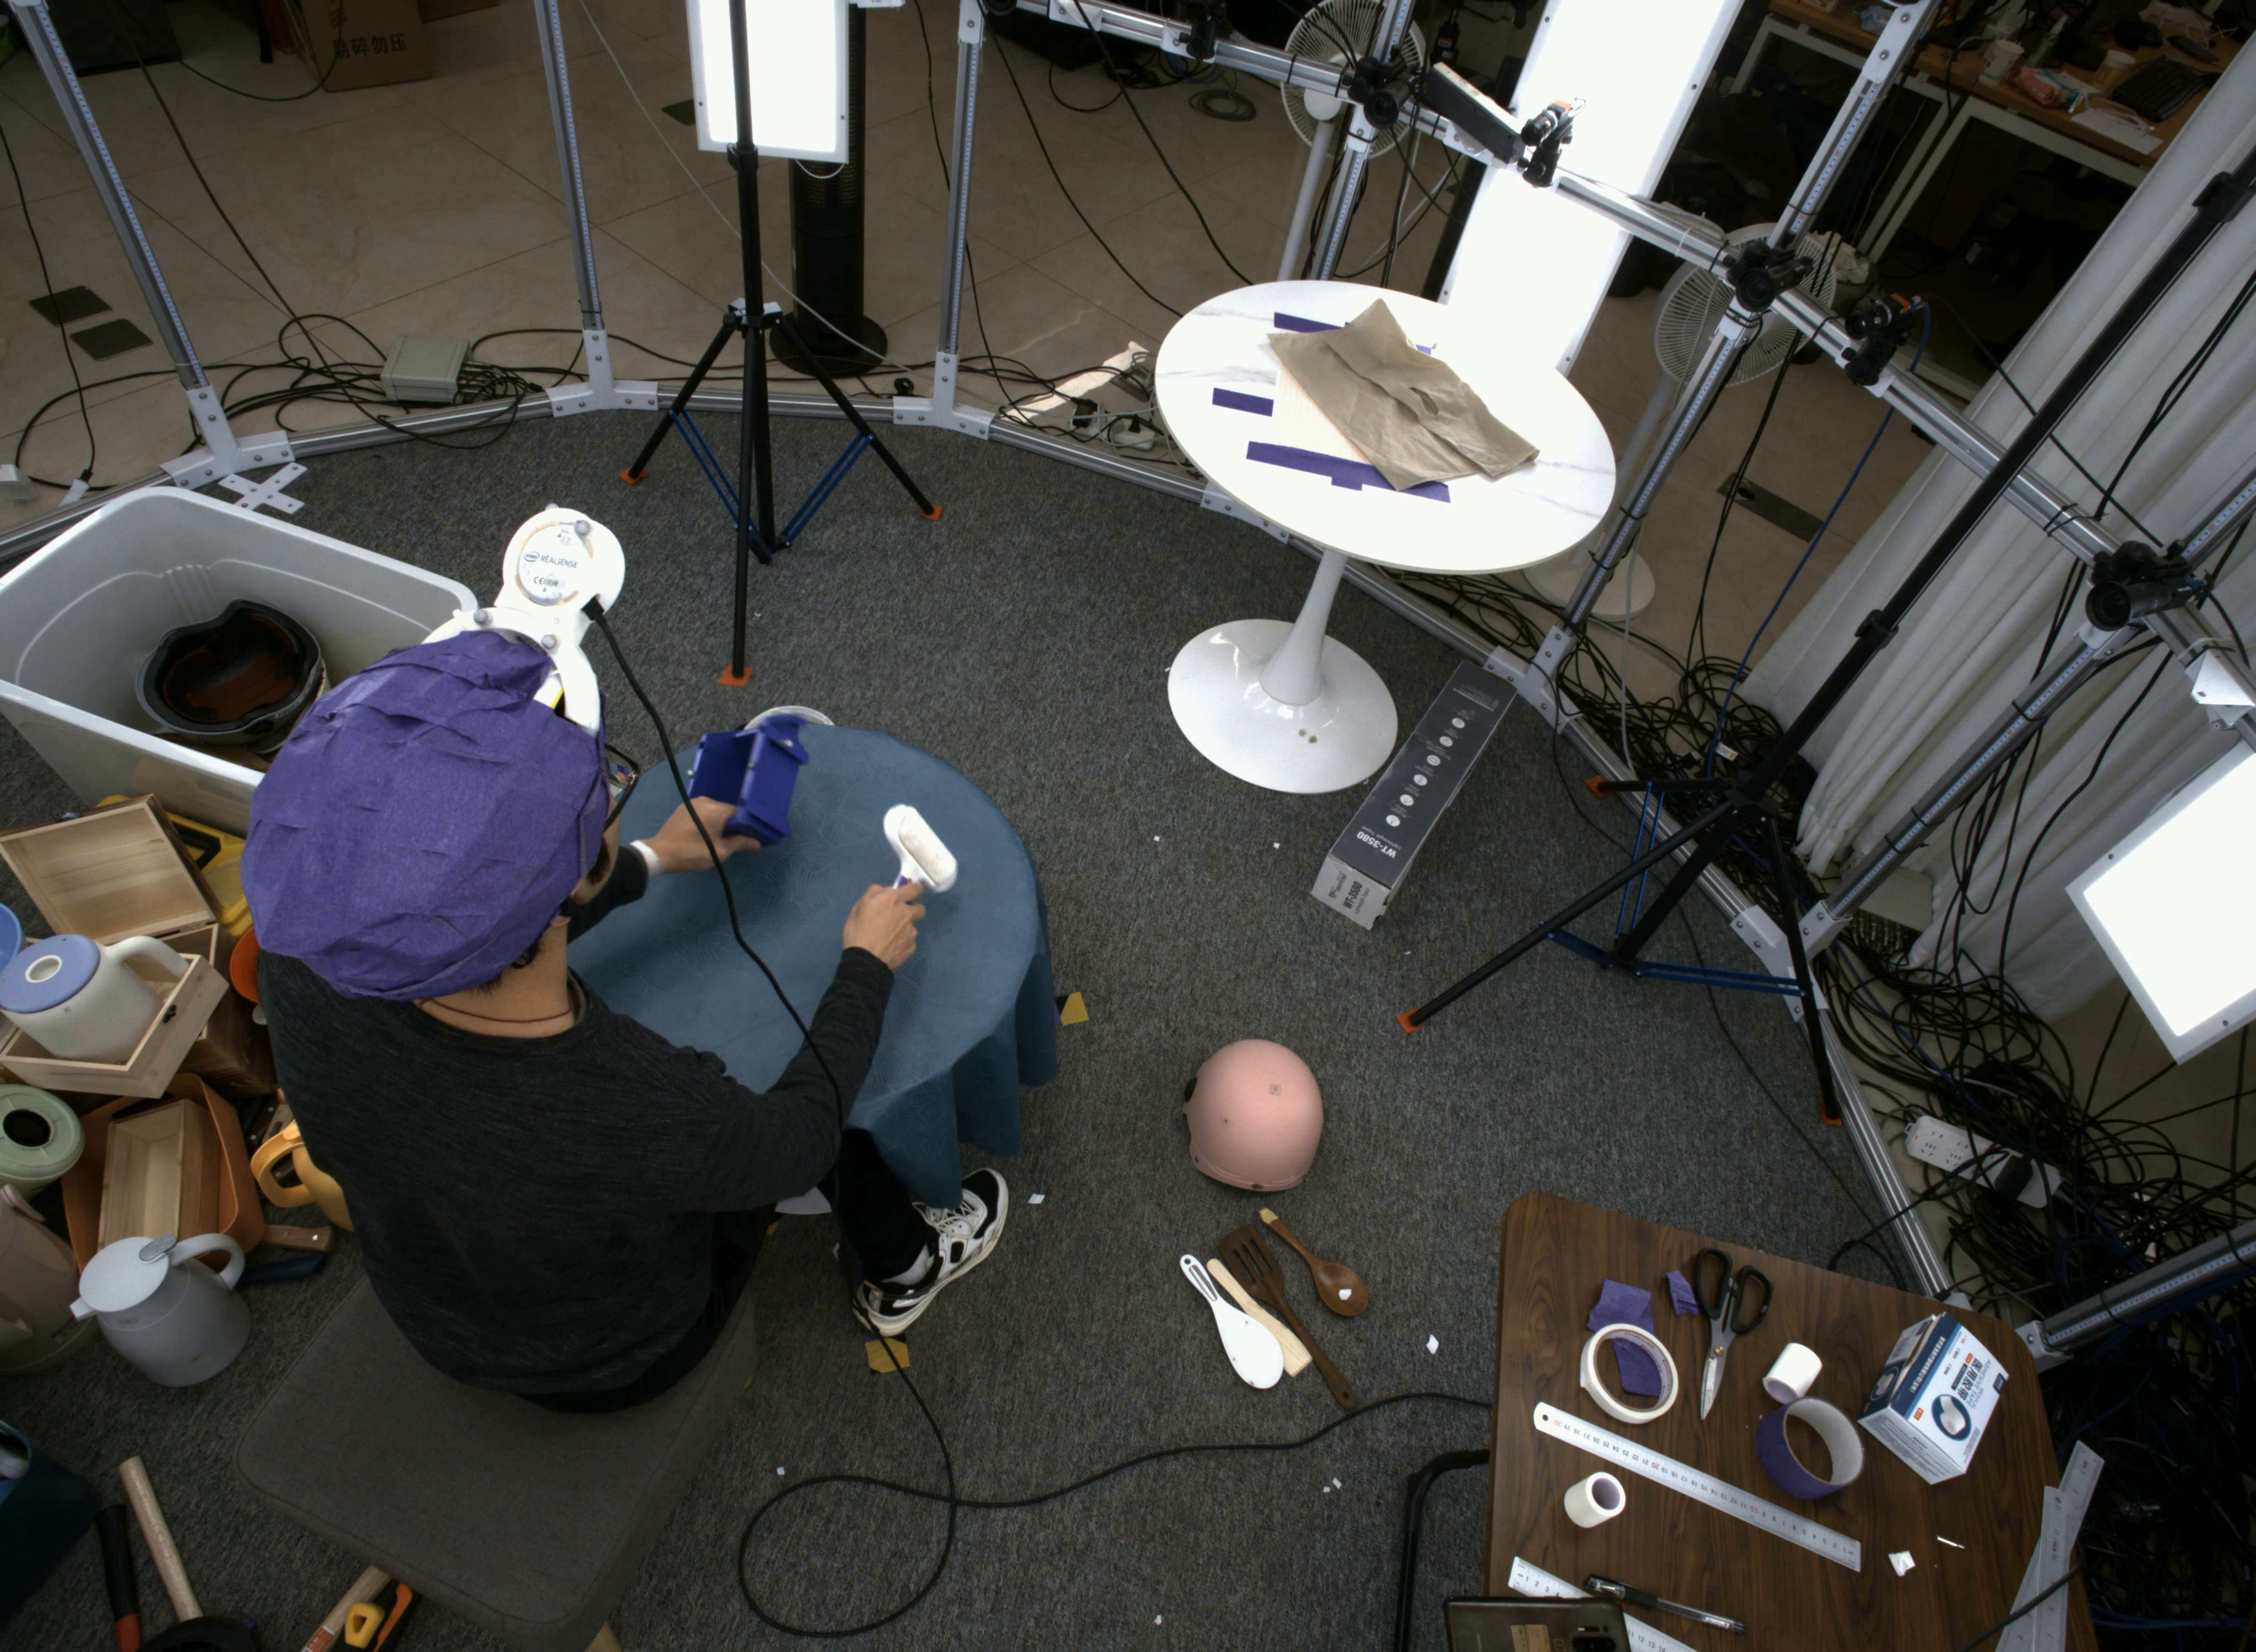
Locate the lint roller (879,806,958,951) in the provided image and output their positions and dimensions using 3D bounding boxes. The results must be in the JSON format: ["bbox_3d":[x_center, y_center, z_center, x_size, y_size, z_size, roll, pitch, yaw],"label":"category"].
[{"bbox_3d":[-0.266,0.073,1.594,0.049,0.138,0.177,-14,42,21],"label":"lint roller"}]

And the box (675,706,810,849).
[{"bbox_3d":[-0.482,-0.065,1.624,0.121,0.085,0.178,-8,63,27],"label":"box"}]
